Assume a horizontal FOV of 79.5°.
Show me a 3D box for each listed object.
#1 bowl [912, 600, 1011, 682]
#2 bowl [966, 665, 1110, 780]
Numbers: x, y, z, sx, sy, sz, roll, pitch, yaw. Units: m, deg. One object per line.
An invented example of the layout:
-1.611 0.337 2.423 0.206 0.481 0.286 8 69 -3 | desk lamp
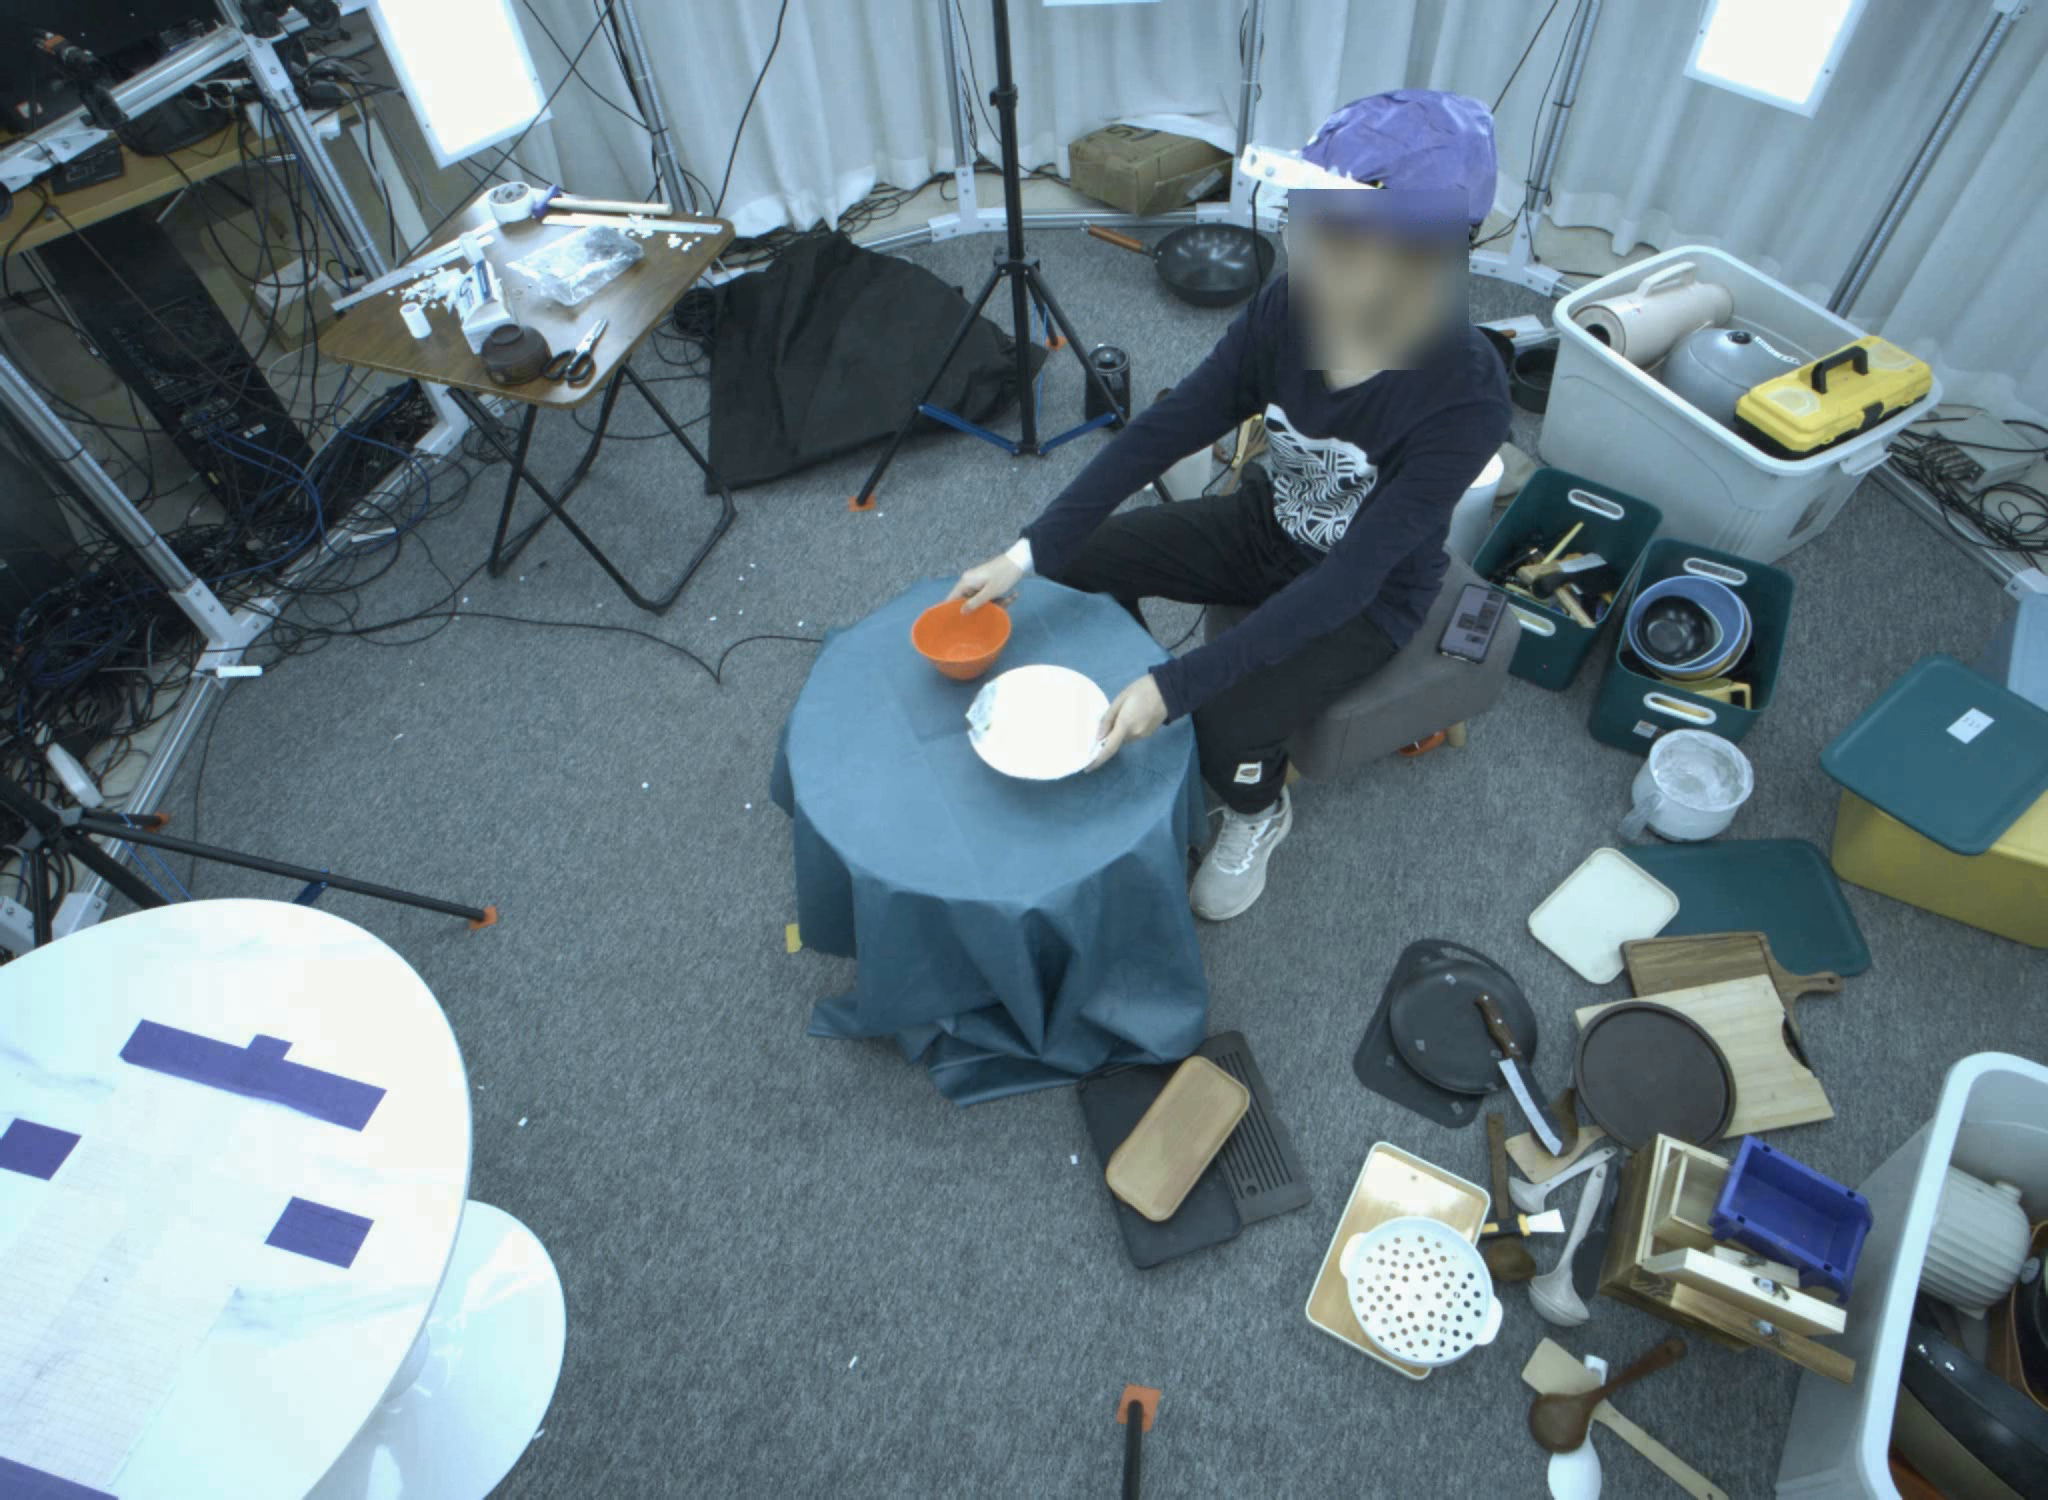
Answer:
-0.091 -0.152 1.845 0.148 0.106 0.146 0 53 2 | bowl
0.020 -0.021 1.763 0.204 0.078 0.202 2 54 -1 | bowl
